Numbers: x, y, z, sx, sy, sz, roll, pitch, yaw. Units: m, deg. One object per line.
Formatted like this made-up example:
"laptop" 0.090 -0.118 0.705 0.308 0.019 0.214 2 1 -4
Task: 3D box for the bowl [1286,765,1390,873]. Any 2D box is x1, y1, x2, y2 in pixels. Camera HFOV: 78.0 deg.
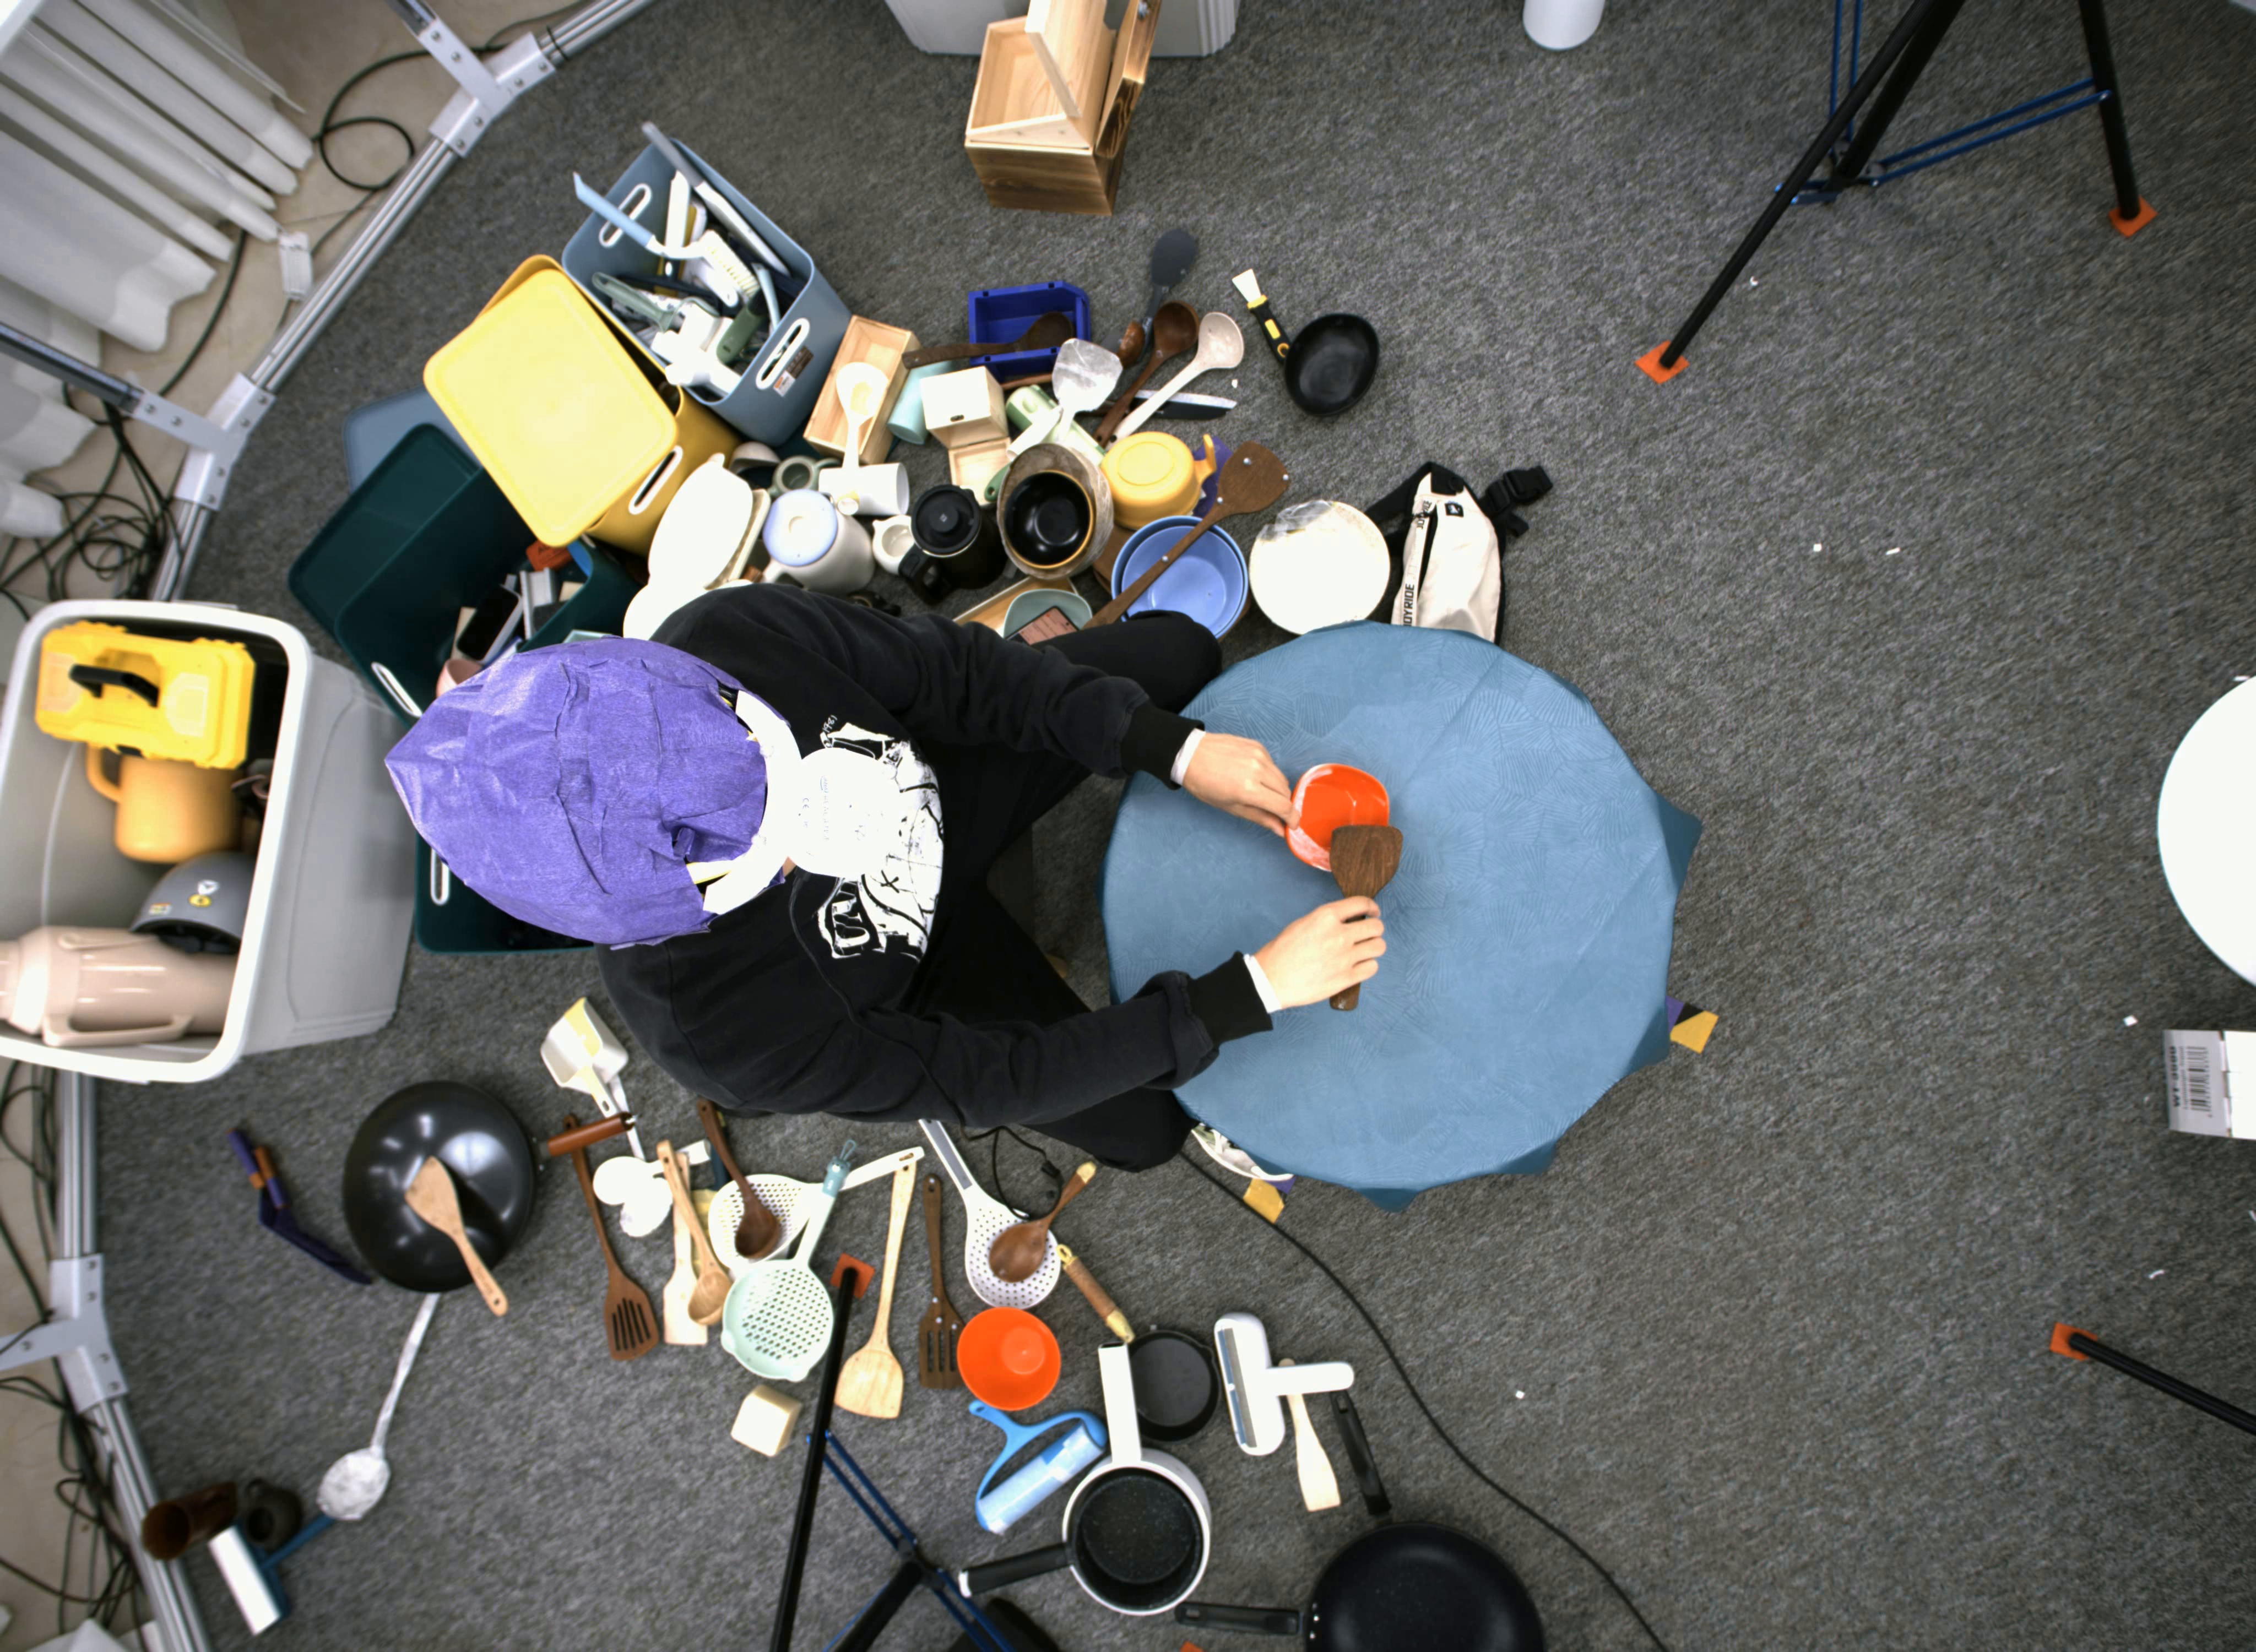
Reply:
"bowl" 0.212 -0.008 1.443 0.118 0.051 0.119 -1 95 -15

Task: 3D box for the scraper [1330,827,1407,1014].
"scraper" 0.229 0.090 1.370 0.076 0.011 0.206 5 60 16
